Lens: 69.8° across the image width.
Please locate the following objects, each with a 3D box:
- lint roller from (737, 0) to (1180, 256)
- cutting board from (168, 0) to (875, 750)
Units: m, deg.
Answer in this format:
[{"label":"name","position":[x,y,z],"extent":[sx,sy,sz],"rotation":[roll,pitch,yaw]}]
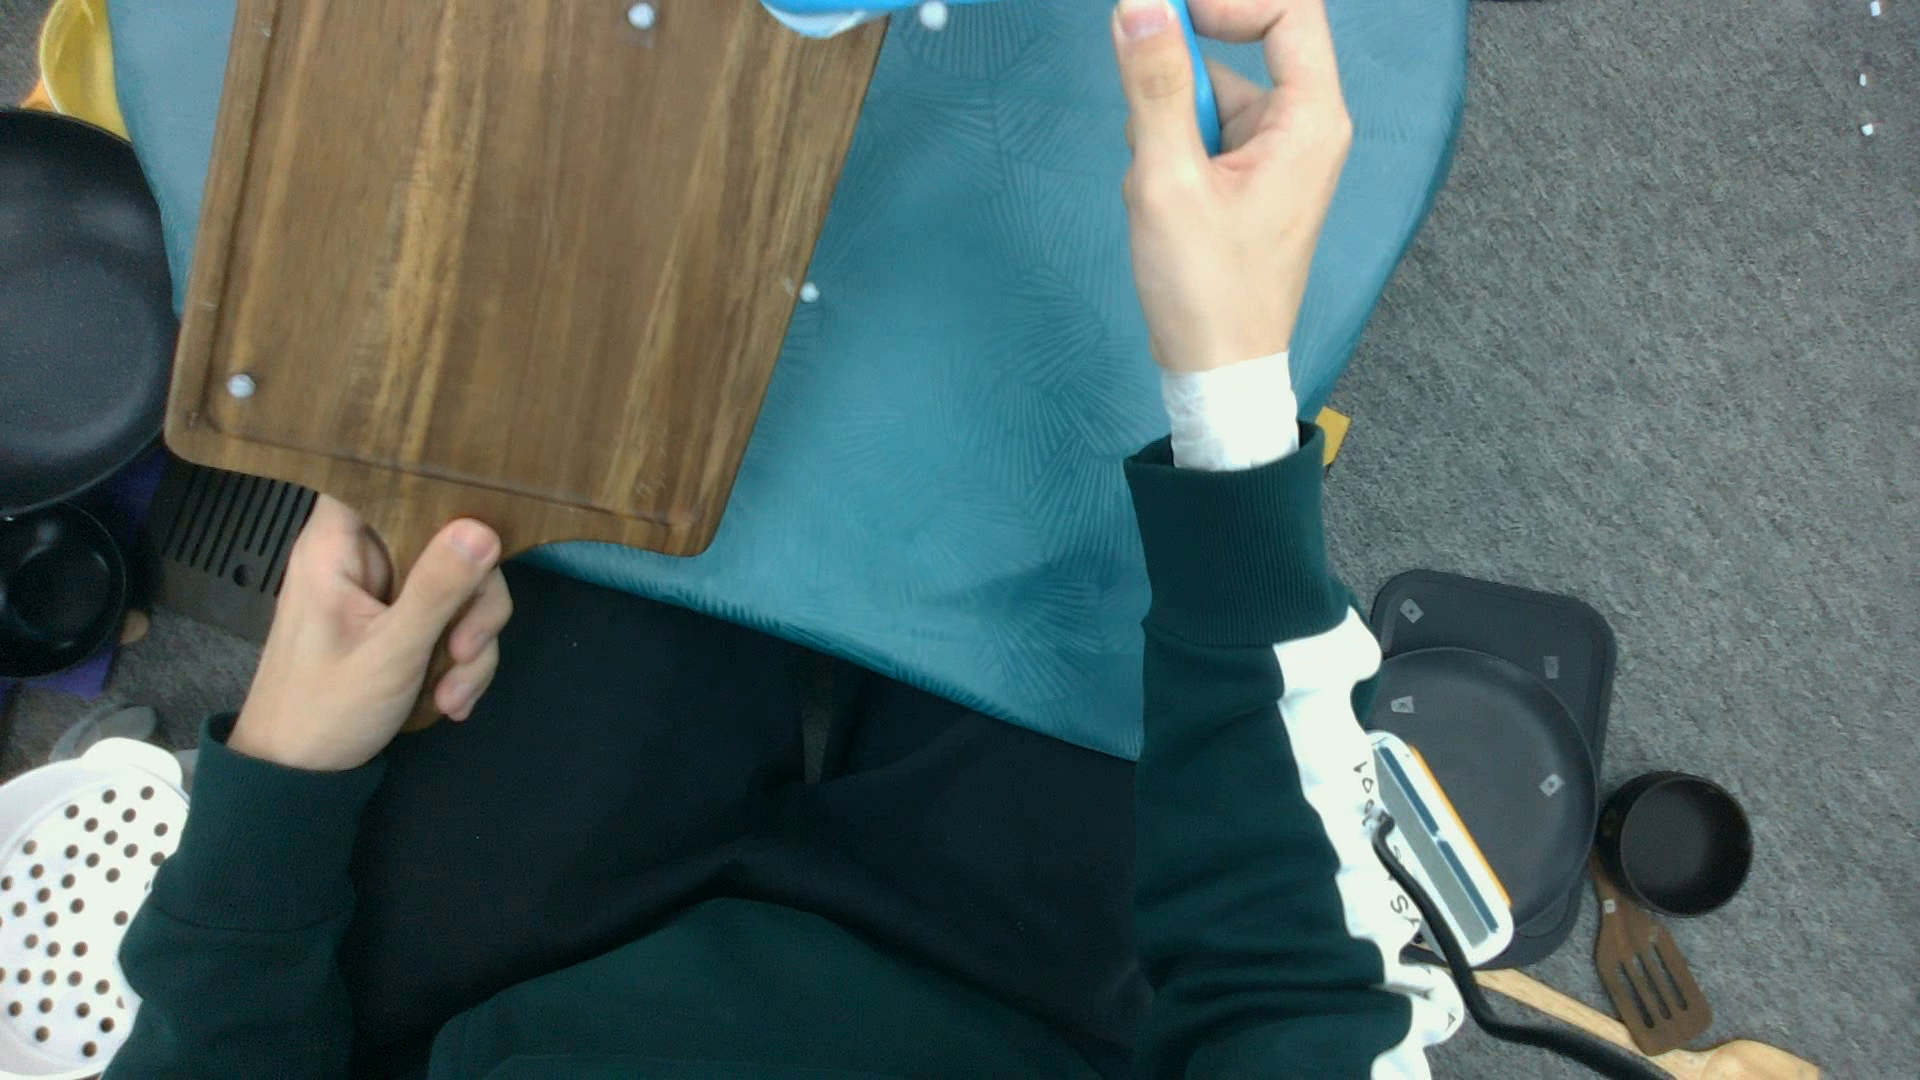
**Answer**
[{"label":"lint roller","position":[0.030,-0.186,0.471],"extent":[0.180,0.067,0.230],"rotation":[48,47,-5]},{"label":"cutting board","position":[-0.168,-0.074,0.501],"extent":[0.201,0.023,0.351],"rotation":[10,112,-26]}]
